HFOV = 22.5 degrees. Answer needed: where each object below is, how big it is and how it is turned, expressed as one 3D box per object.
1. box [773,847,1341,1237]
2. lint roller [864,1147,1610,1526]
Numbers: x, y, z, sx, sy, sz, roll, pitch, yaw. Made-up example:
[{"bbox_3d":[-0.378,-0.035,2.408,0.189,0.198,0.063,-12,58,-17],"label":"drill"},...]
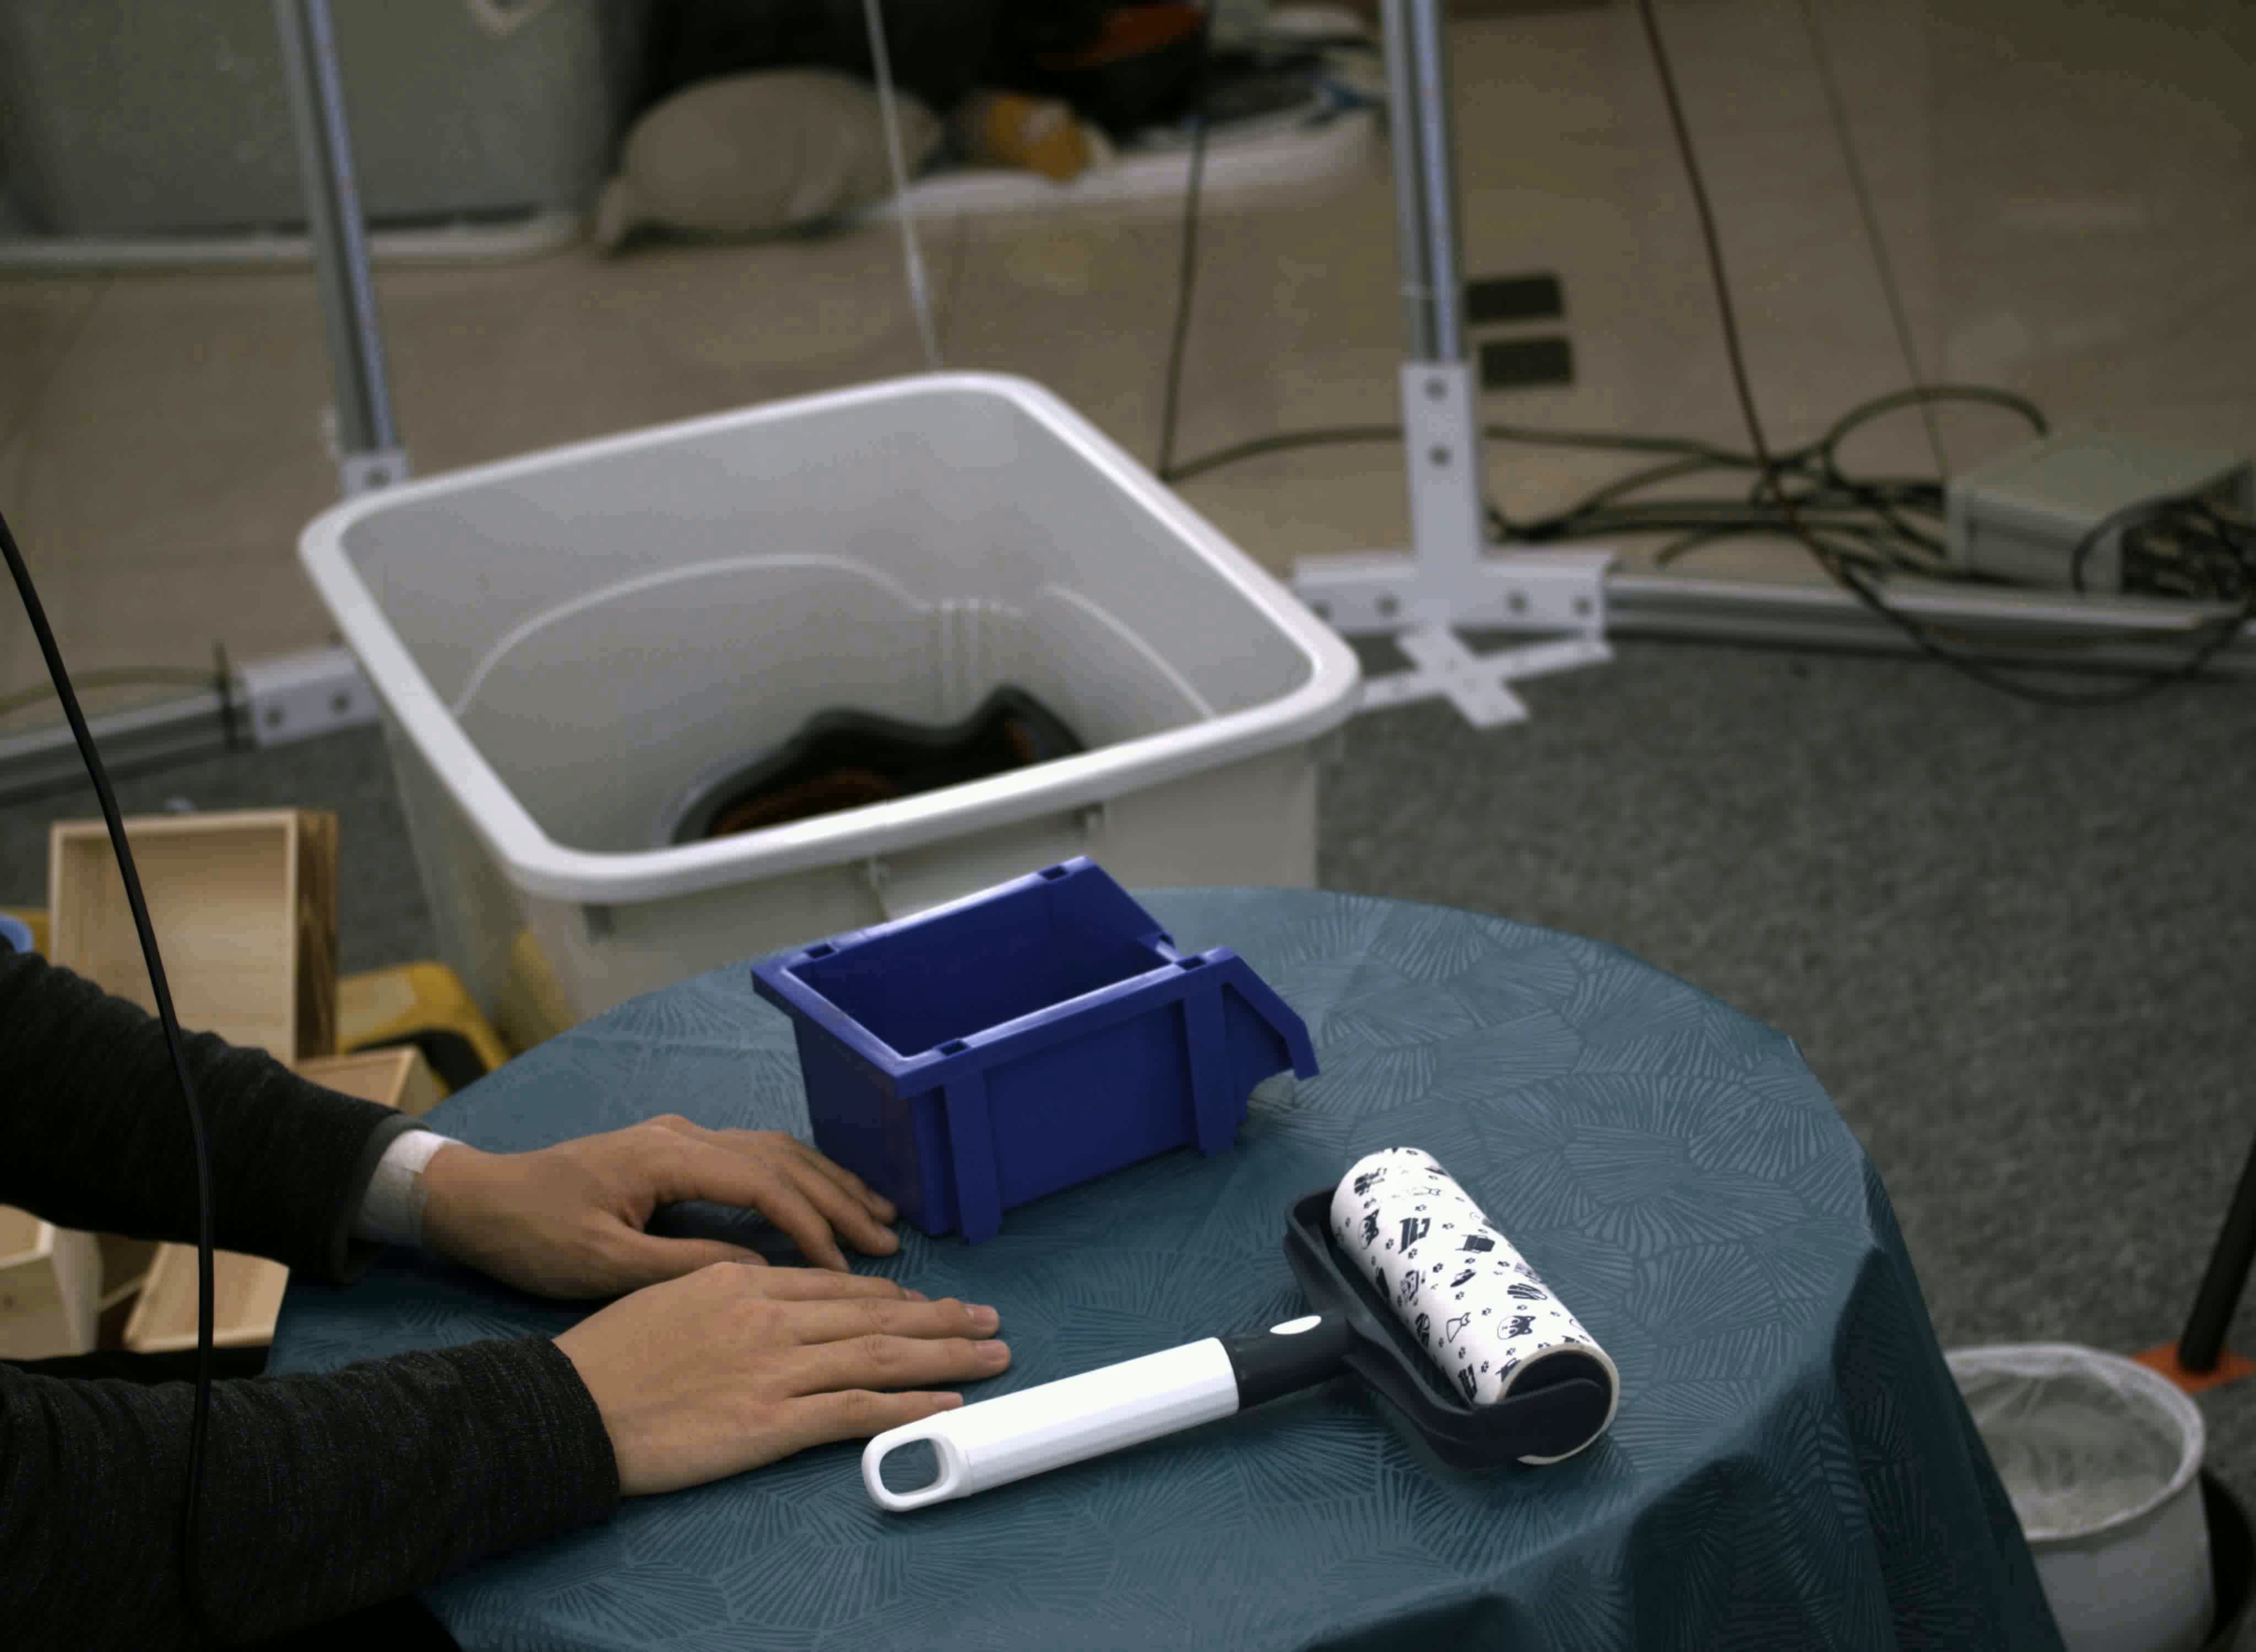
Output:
[{"bbox_3d":[-0.027,0.079,2.186,0.178,0.083,0.123,-21,28,-22],"label":"box"},{"bbox_3d":[0.026,0.192,1.977,0.246,0.051,0.174,-14,27,-14],"label":"lint roller"}]
